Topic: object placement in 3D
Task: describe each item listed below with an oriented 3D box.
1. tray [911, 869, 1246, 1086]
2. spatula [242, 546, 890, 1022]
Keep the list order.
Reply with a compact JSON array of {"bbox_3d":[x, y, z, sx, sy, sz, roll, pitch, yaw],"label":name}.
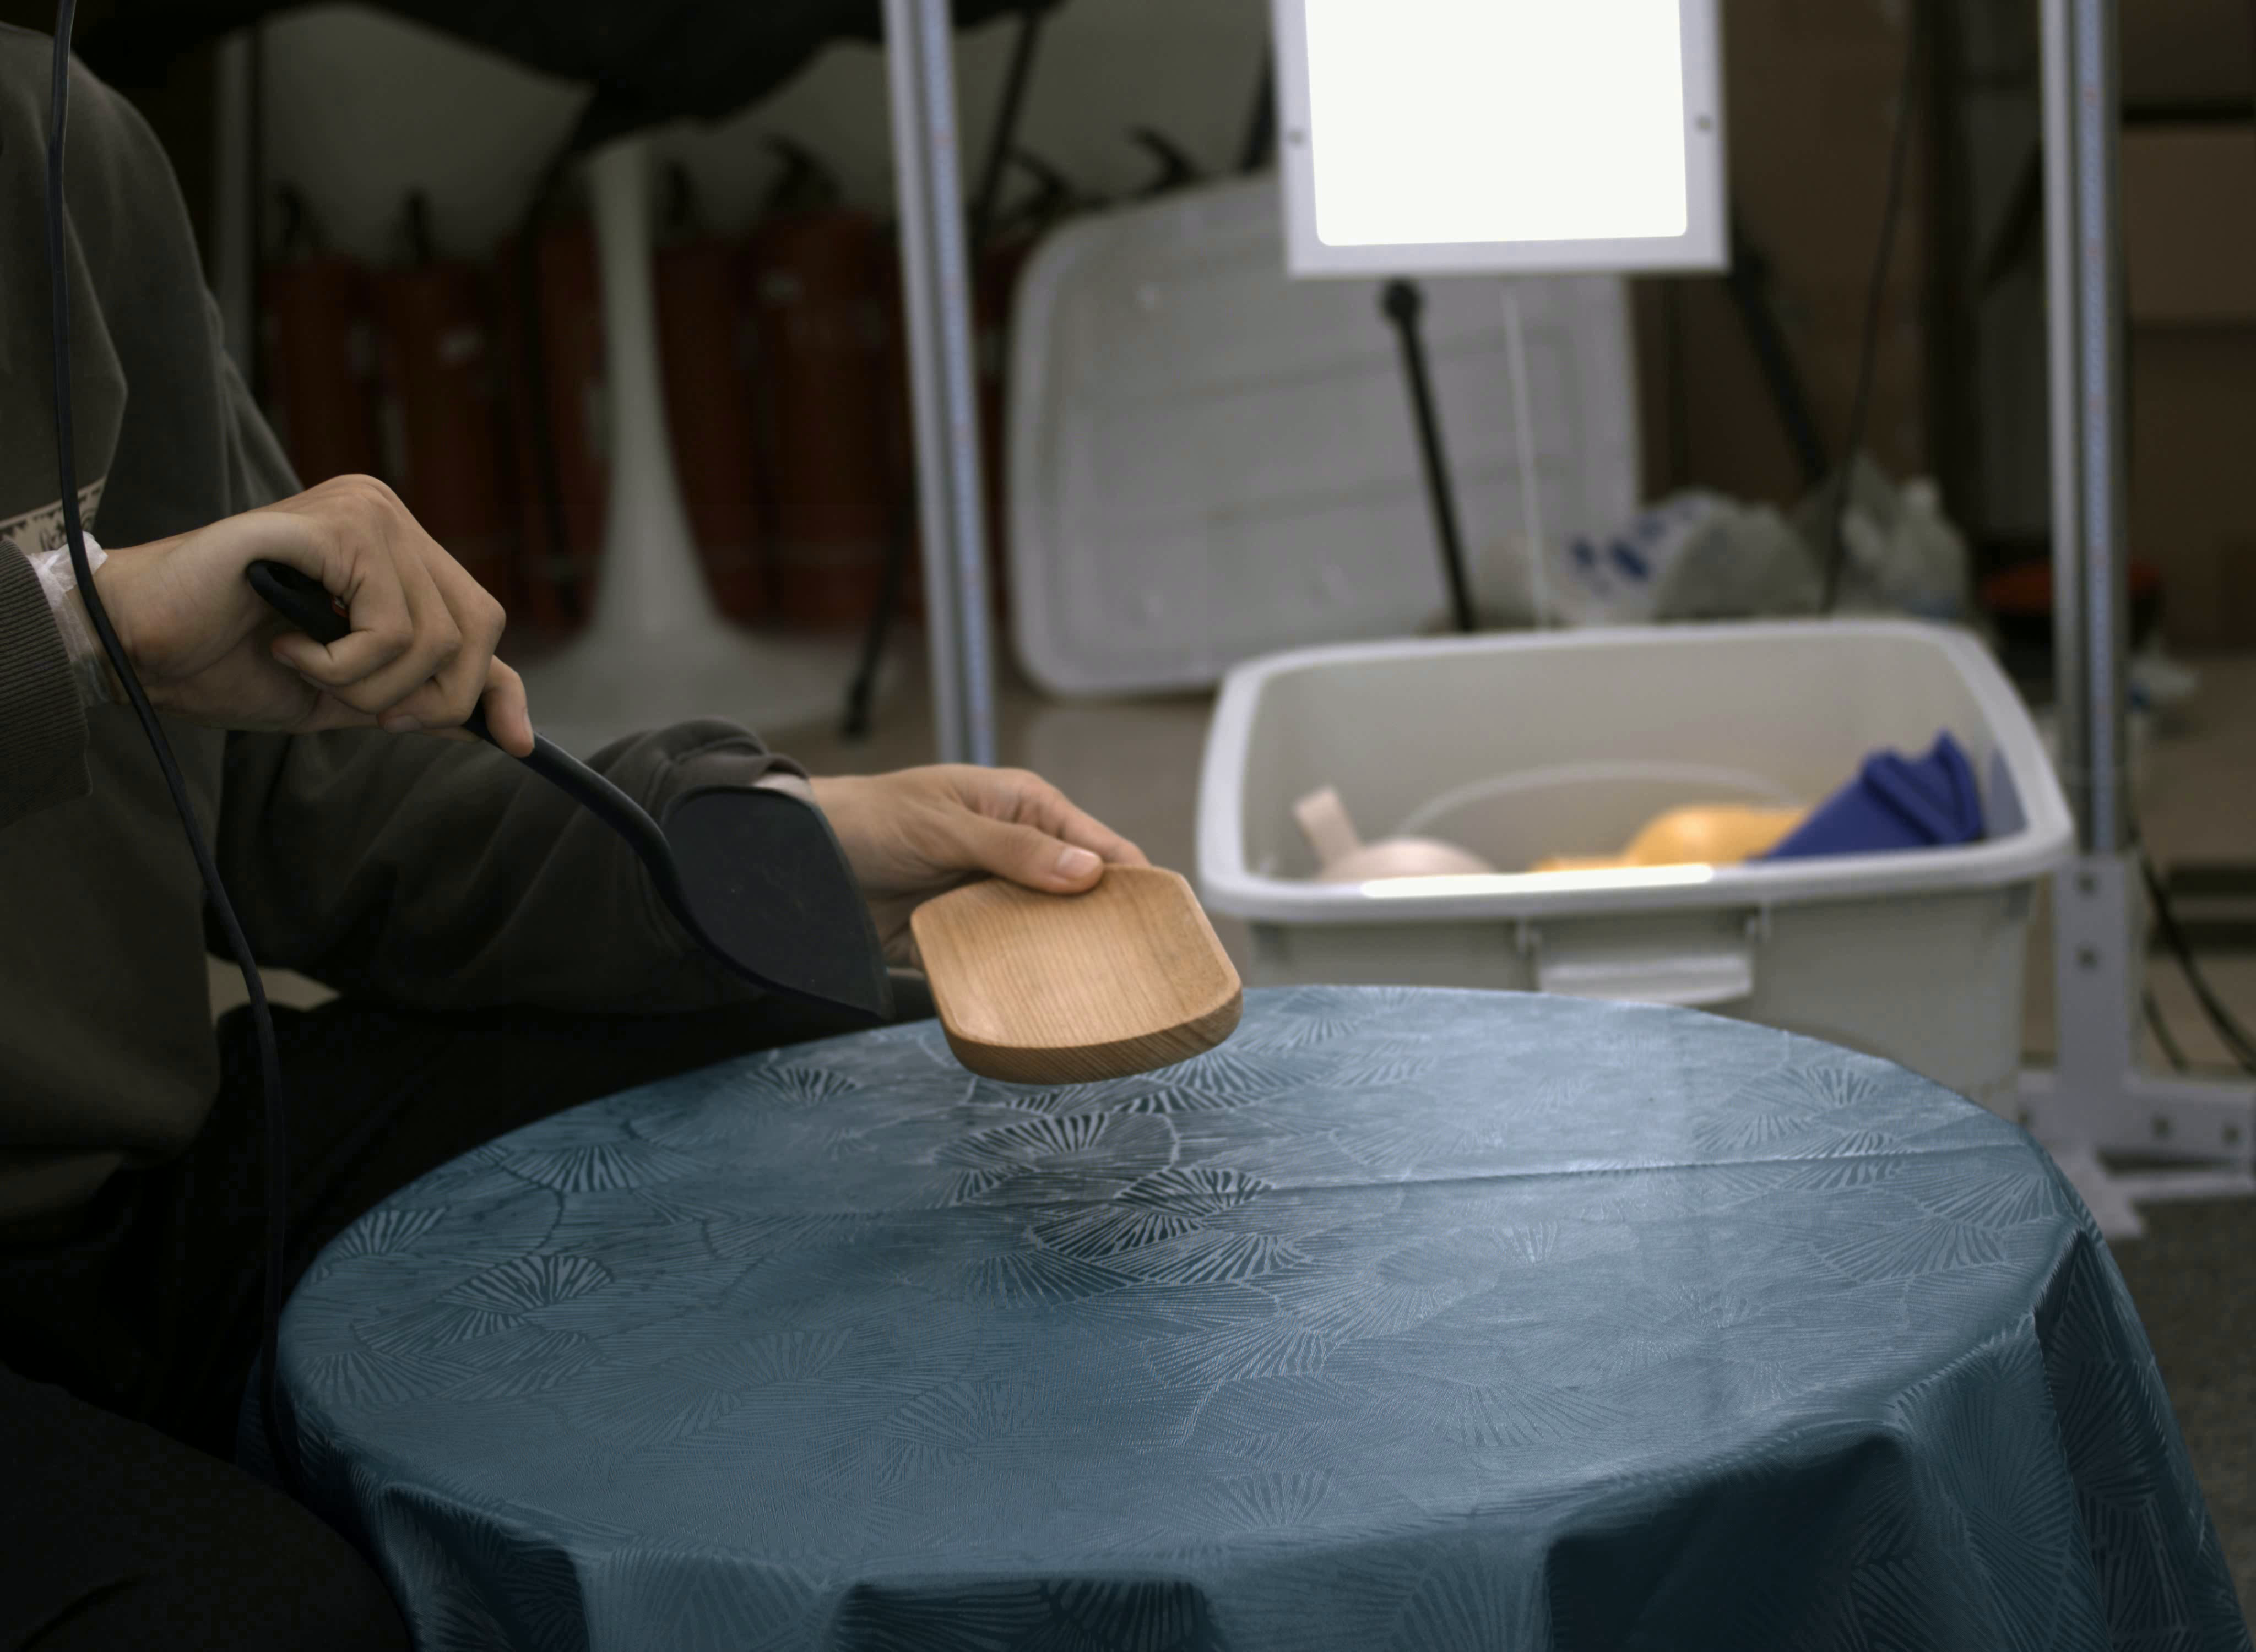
[{"bbox_3d":[-0.018,0.051,1.904,0.101,0.020,0.232,-10,16,-5],"label":"tray"},{"bbox_3d":[-0.179,-0.023,1.782,0.041,0.100,0.321,-32,-36,12],"label":"spatula"}]
